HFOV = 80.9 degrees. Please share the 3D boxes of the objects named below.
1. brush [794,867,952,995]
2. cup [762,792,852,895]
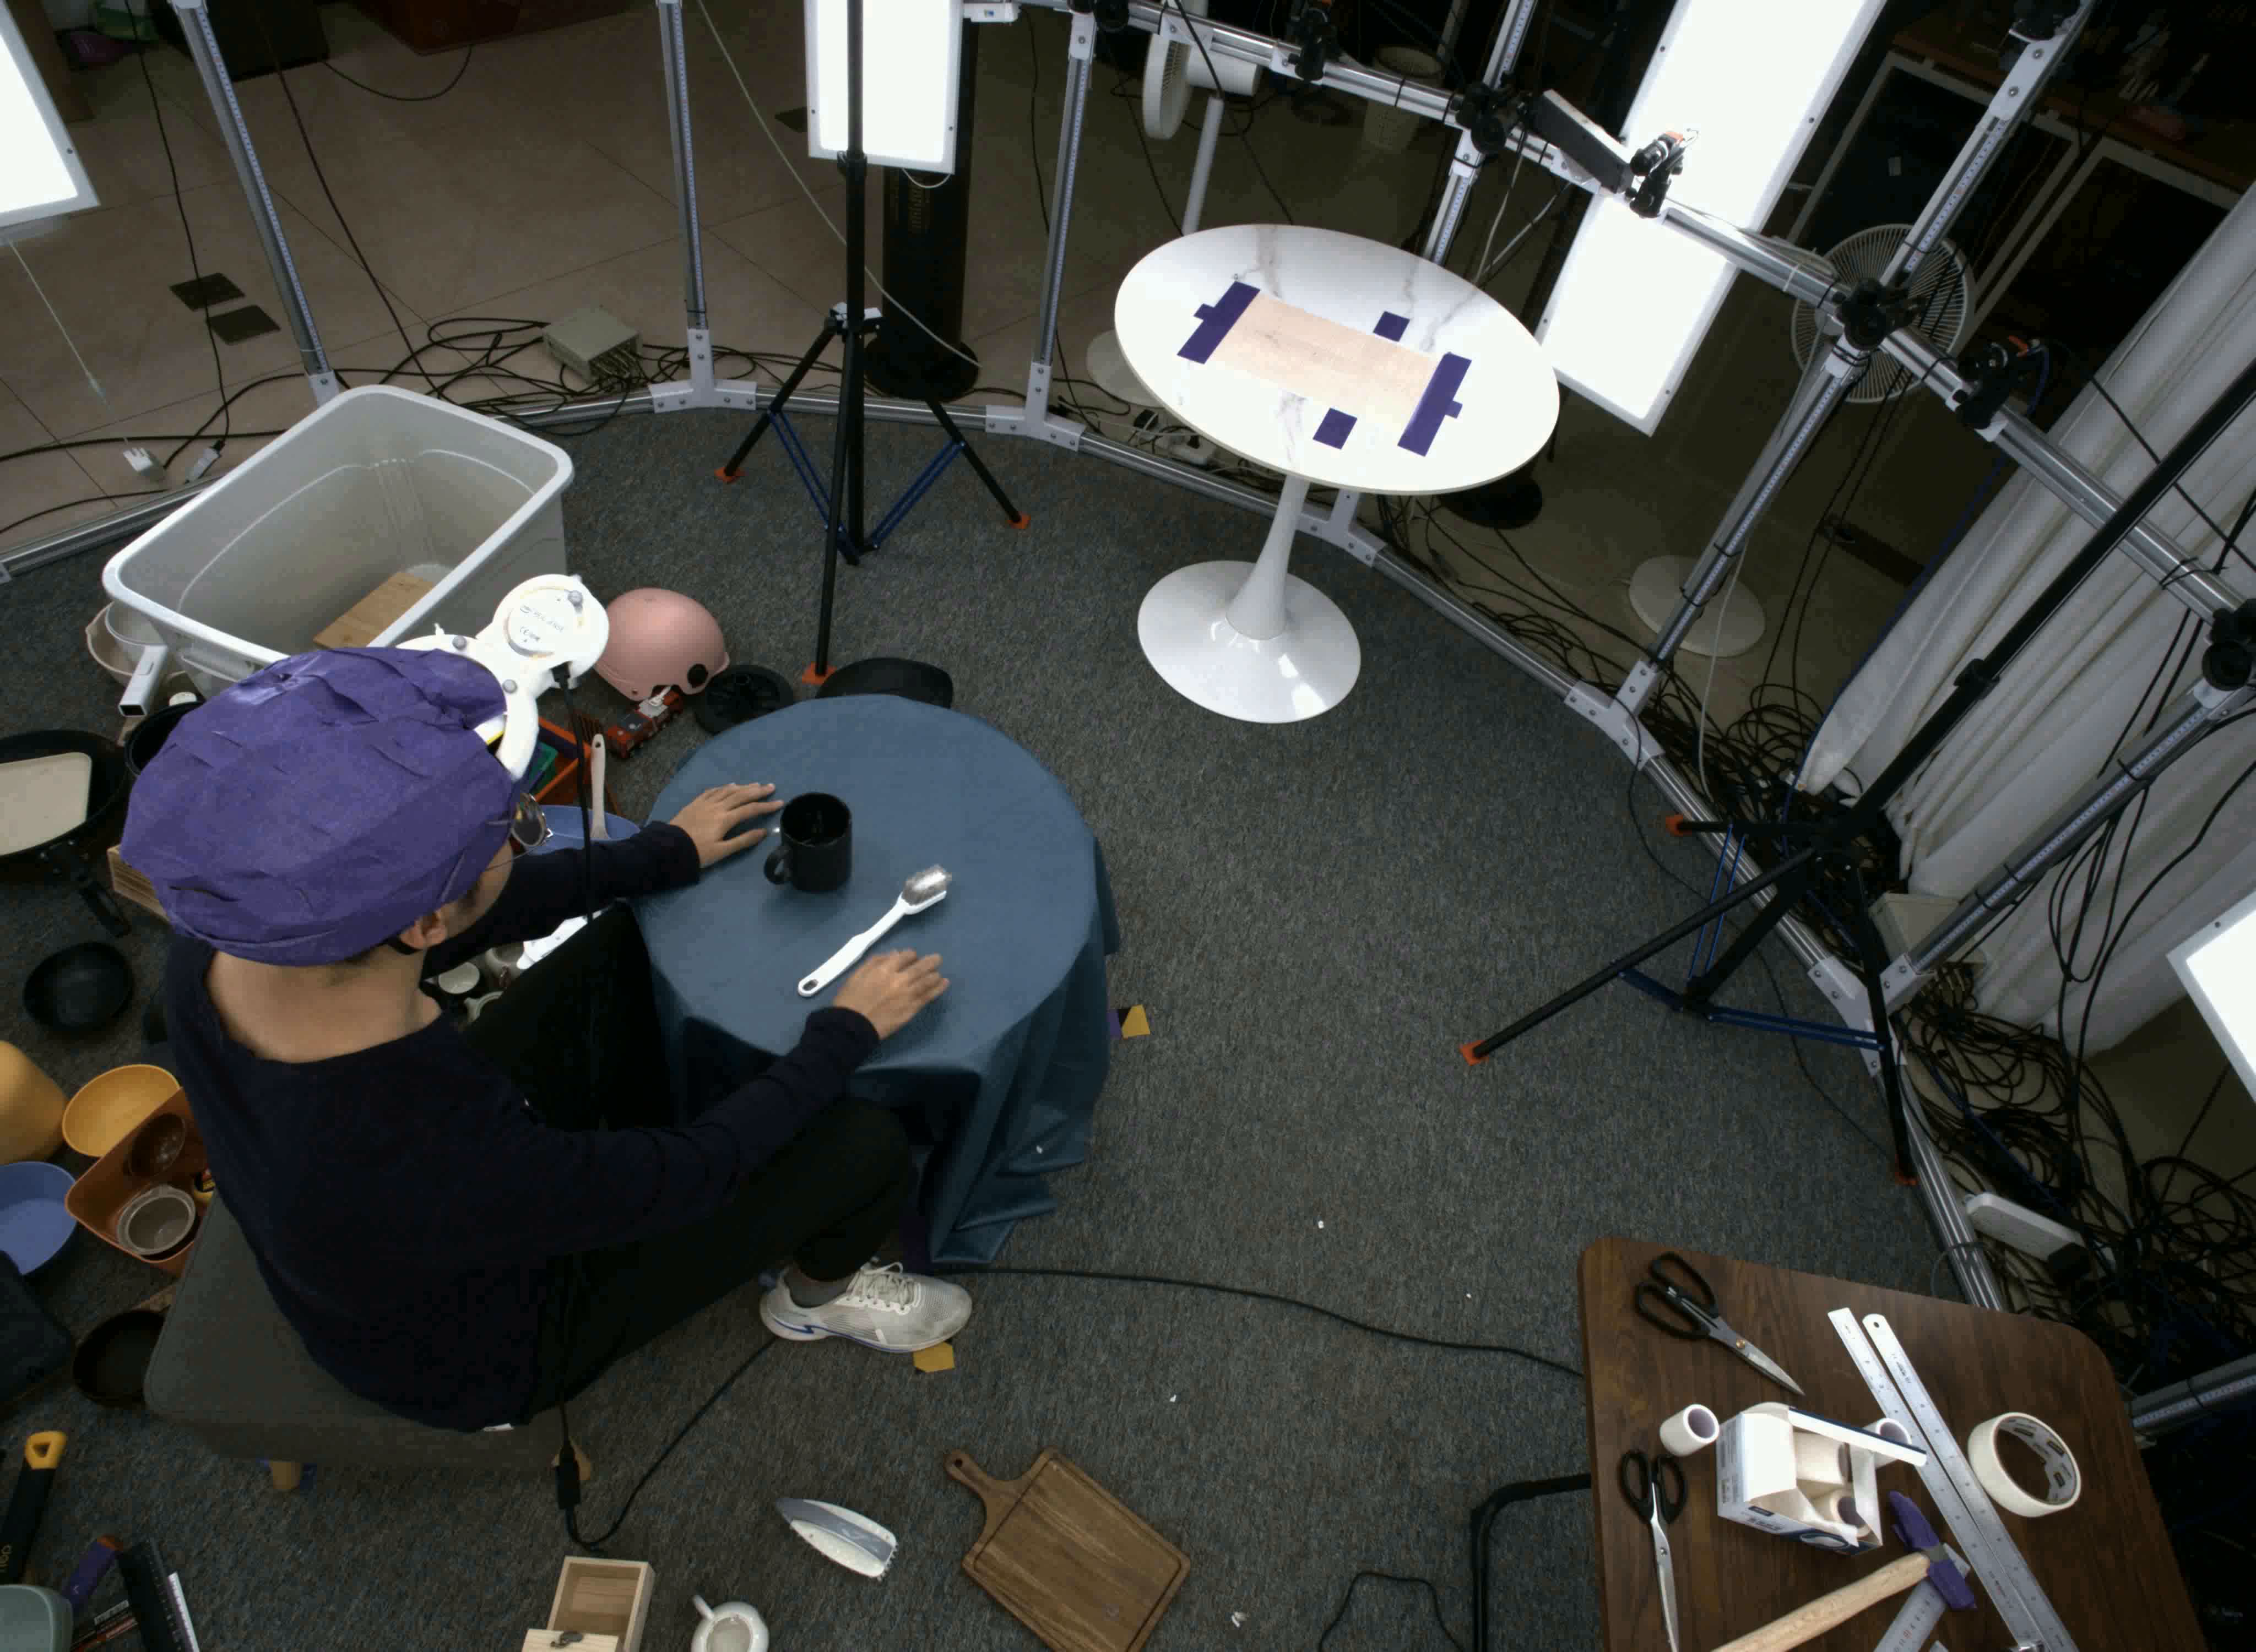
[{"bbox_3d":[-0.318,0.126,1.628,0.034,0.051,0.244,43,56,16],"label":"brush"},{"bbox_3d":[-0.408,0.030,1.641,0.124,0.107,0.087,-36,69,-30],"label":"cup"}]
